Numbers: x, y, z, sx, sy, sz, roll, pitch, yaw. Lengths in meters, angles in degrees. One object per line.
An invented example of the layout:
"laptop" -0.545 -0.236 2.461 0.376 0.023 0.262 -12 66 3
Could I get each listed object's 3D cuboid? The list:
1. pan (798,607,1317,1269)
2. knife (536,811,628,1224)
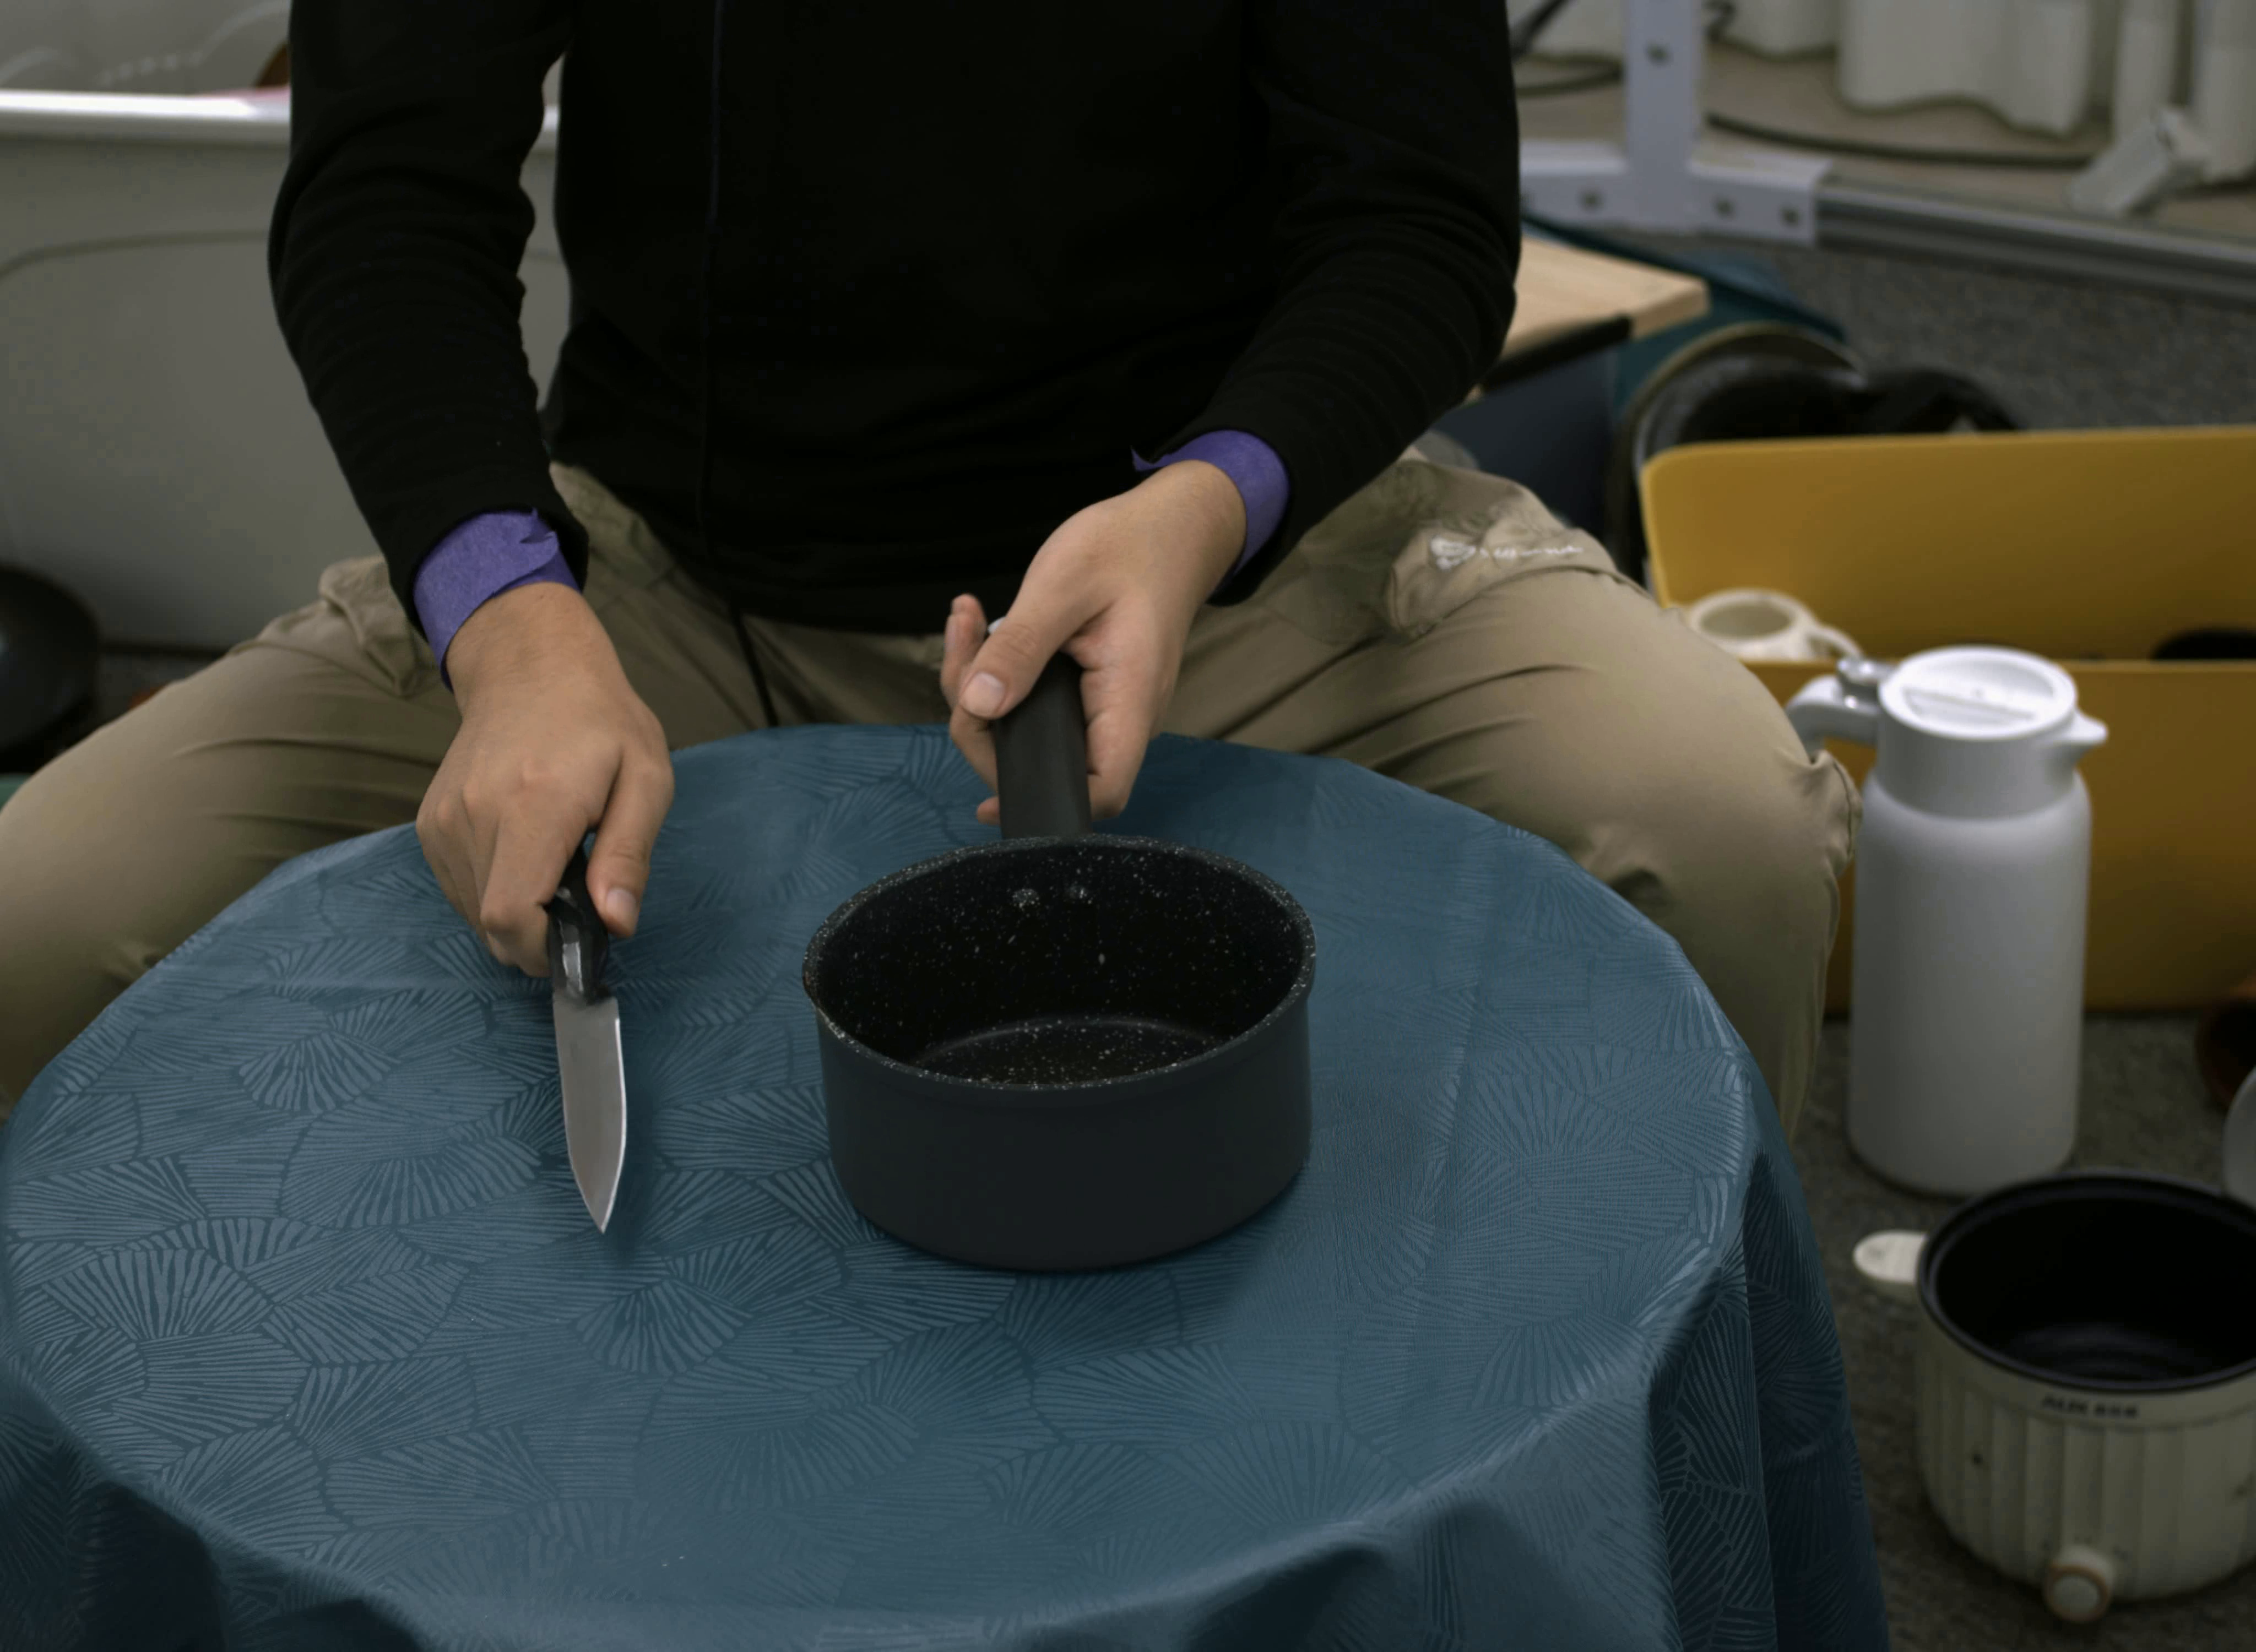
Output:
"pan" -0.021 0.035 1.937 0.171 0.085 0.334 -2 28 1
"knife" -0.188 0.064 1.916 0.024 0.016 0.242 -2 33 -8
